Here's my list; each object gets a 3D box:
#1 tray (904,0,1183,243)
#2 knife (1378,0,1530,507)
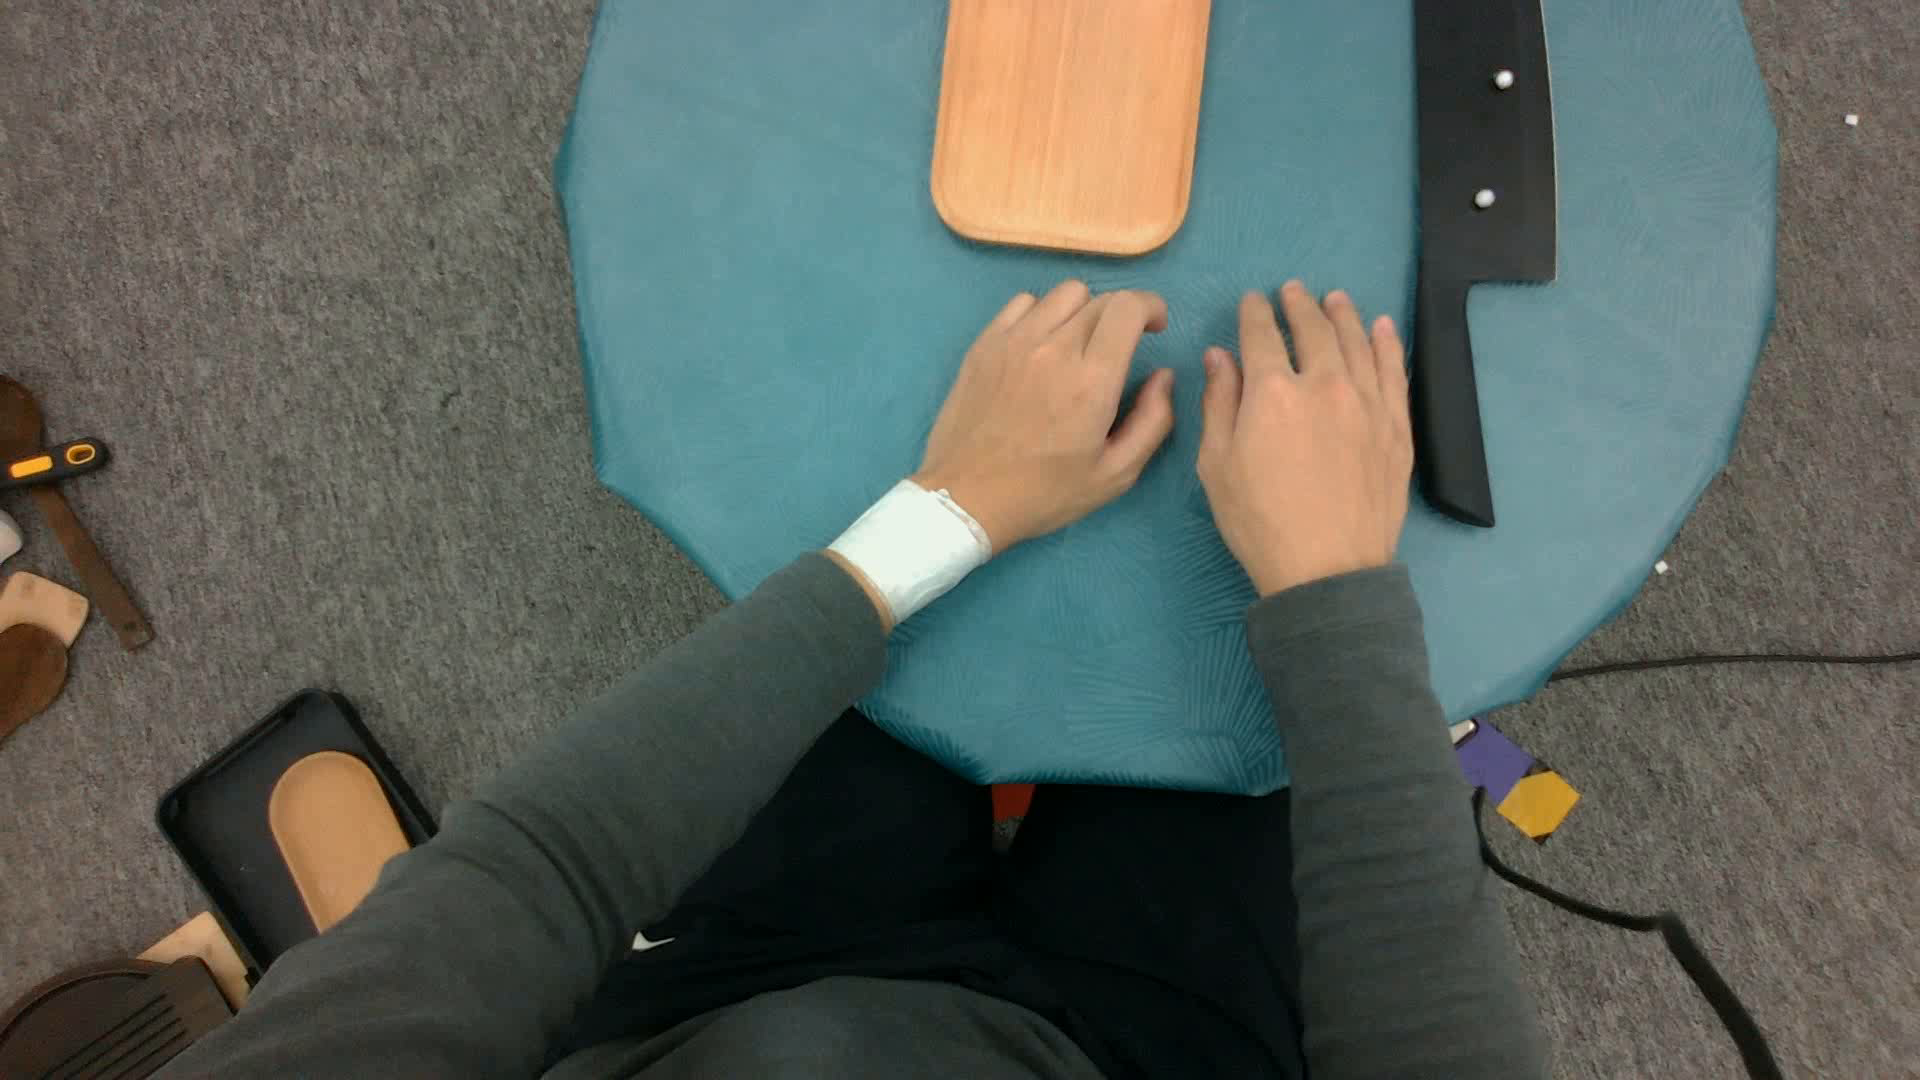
[{"bbox_3d":[0.047,-0.273,0.689,0.130,0.023,0.251,6,85,4],"label":"tray"},{"bbox_3d":[0.241,-0.166,0.677,0.081,0.021,0.302,4,82,0],"label":"knife"}]
